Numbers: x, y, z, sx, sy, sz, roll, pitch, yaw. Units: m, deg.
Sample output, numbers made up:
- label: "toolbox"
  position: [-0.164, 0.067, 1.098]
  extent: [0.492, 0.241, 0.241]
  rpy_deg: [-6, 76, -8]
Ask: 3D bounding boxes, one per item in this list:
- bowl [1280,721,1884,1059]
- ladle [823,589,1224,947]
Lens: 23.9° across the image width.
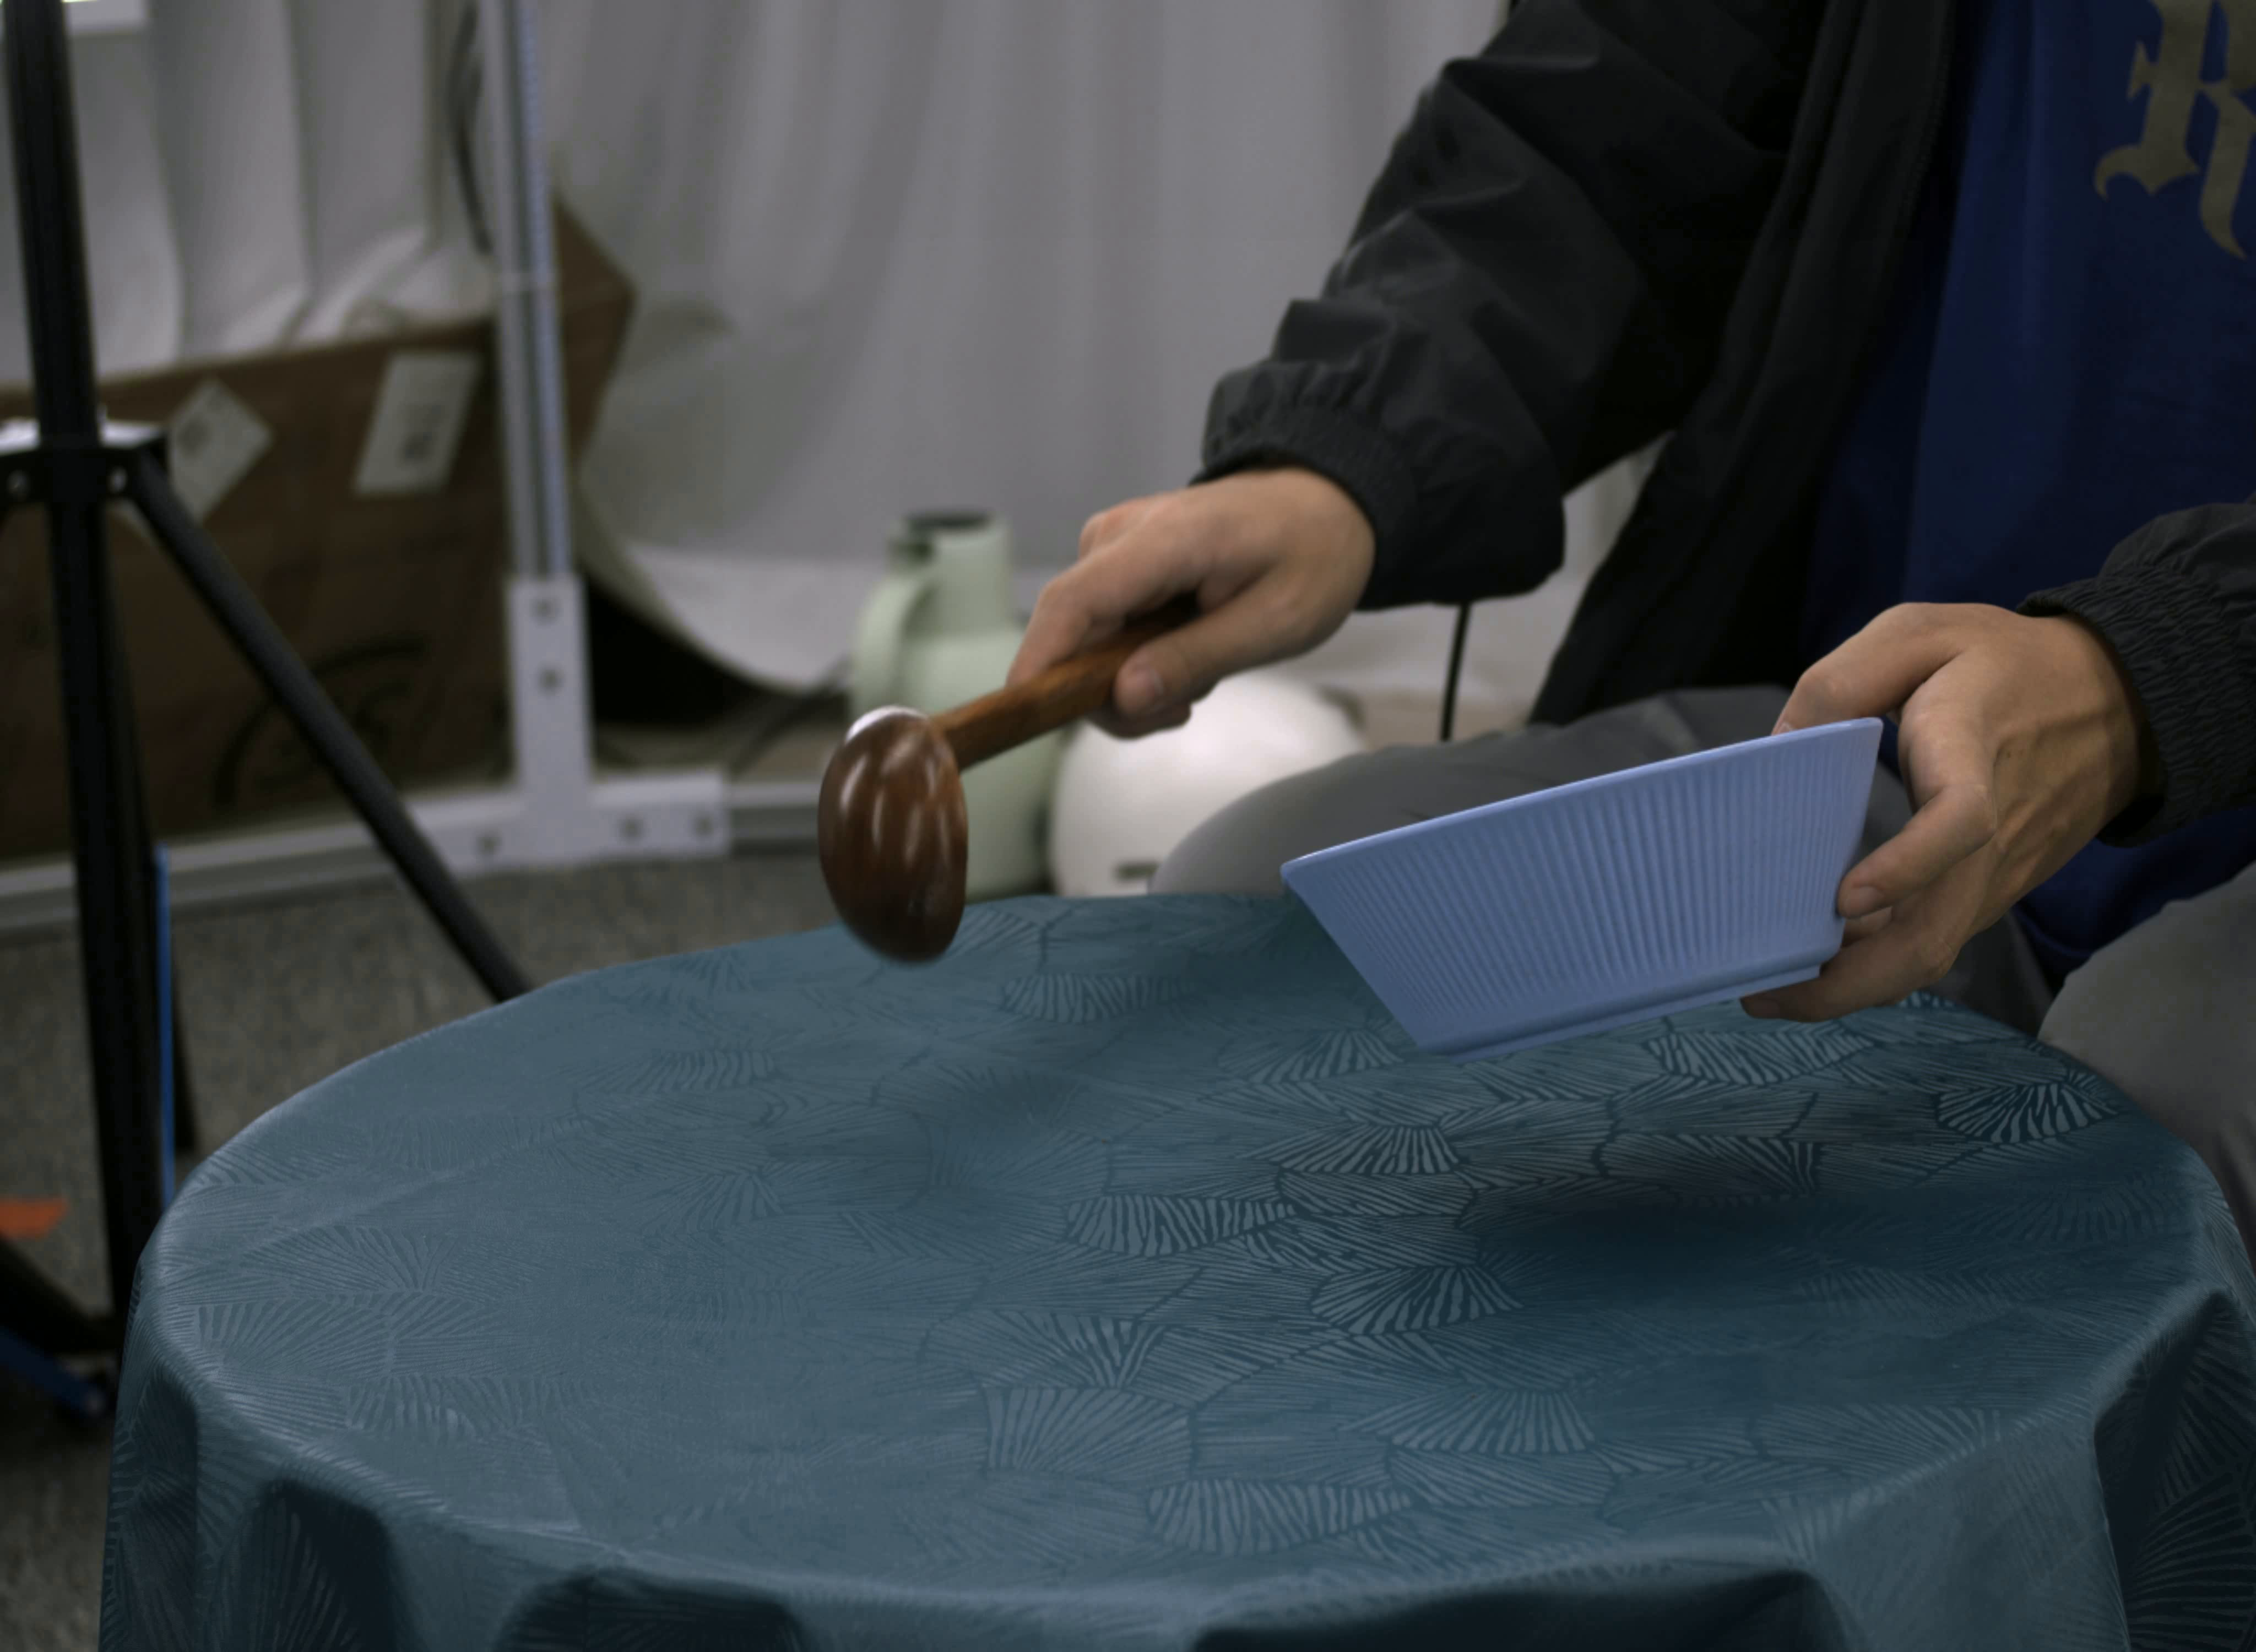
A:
- label: "bowl"
  position: [0.135, 0.022, 1.505]
  extent: [0.175, 0.071, 0.176]
  rpy_deg: [-12, -4, -2]
- label: "ladle"
  position: [-0.014, -0.031, 1.703]
  extent: [0.078, 0.082, 0.269]
  rpy_deg: [26, 26, 24]
